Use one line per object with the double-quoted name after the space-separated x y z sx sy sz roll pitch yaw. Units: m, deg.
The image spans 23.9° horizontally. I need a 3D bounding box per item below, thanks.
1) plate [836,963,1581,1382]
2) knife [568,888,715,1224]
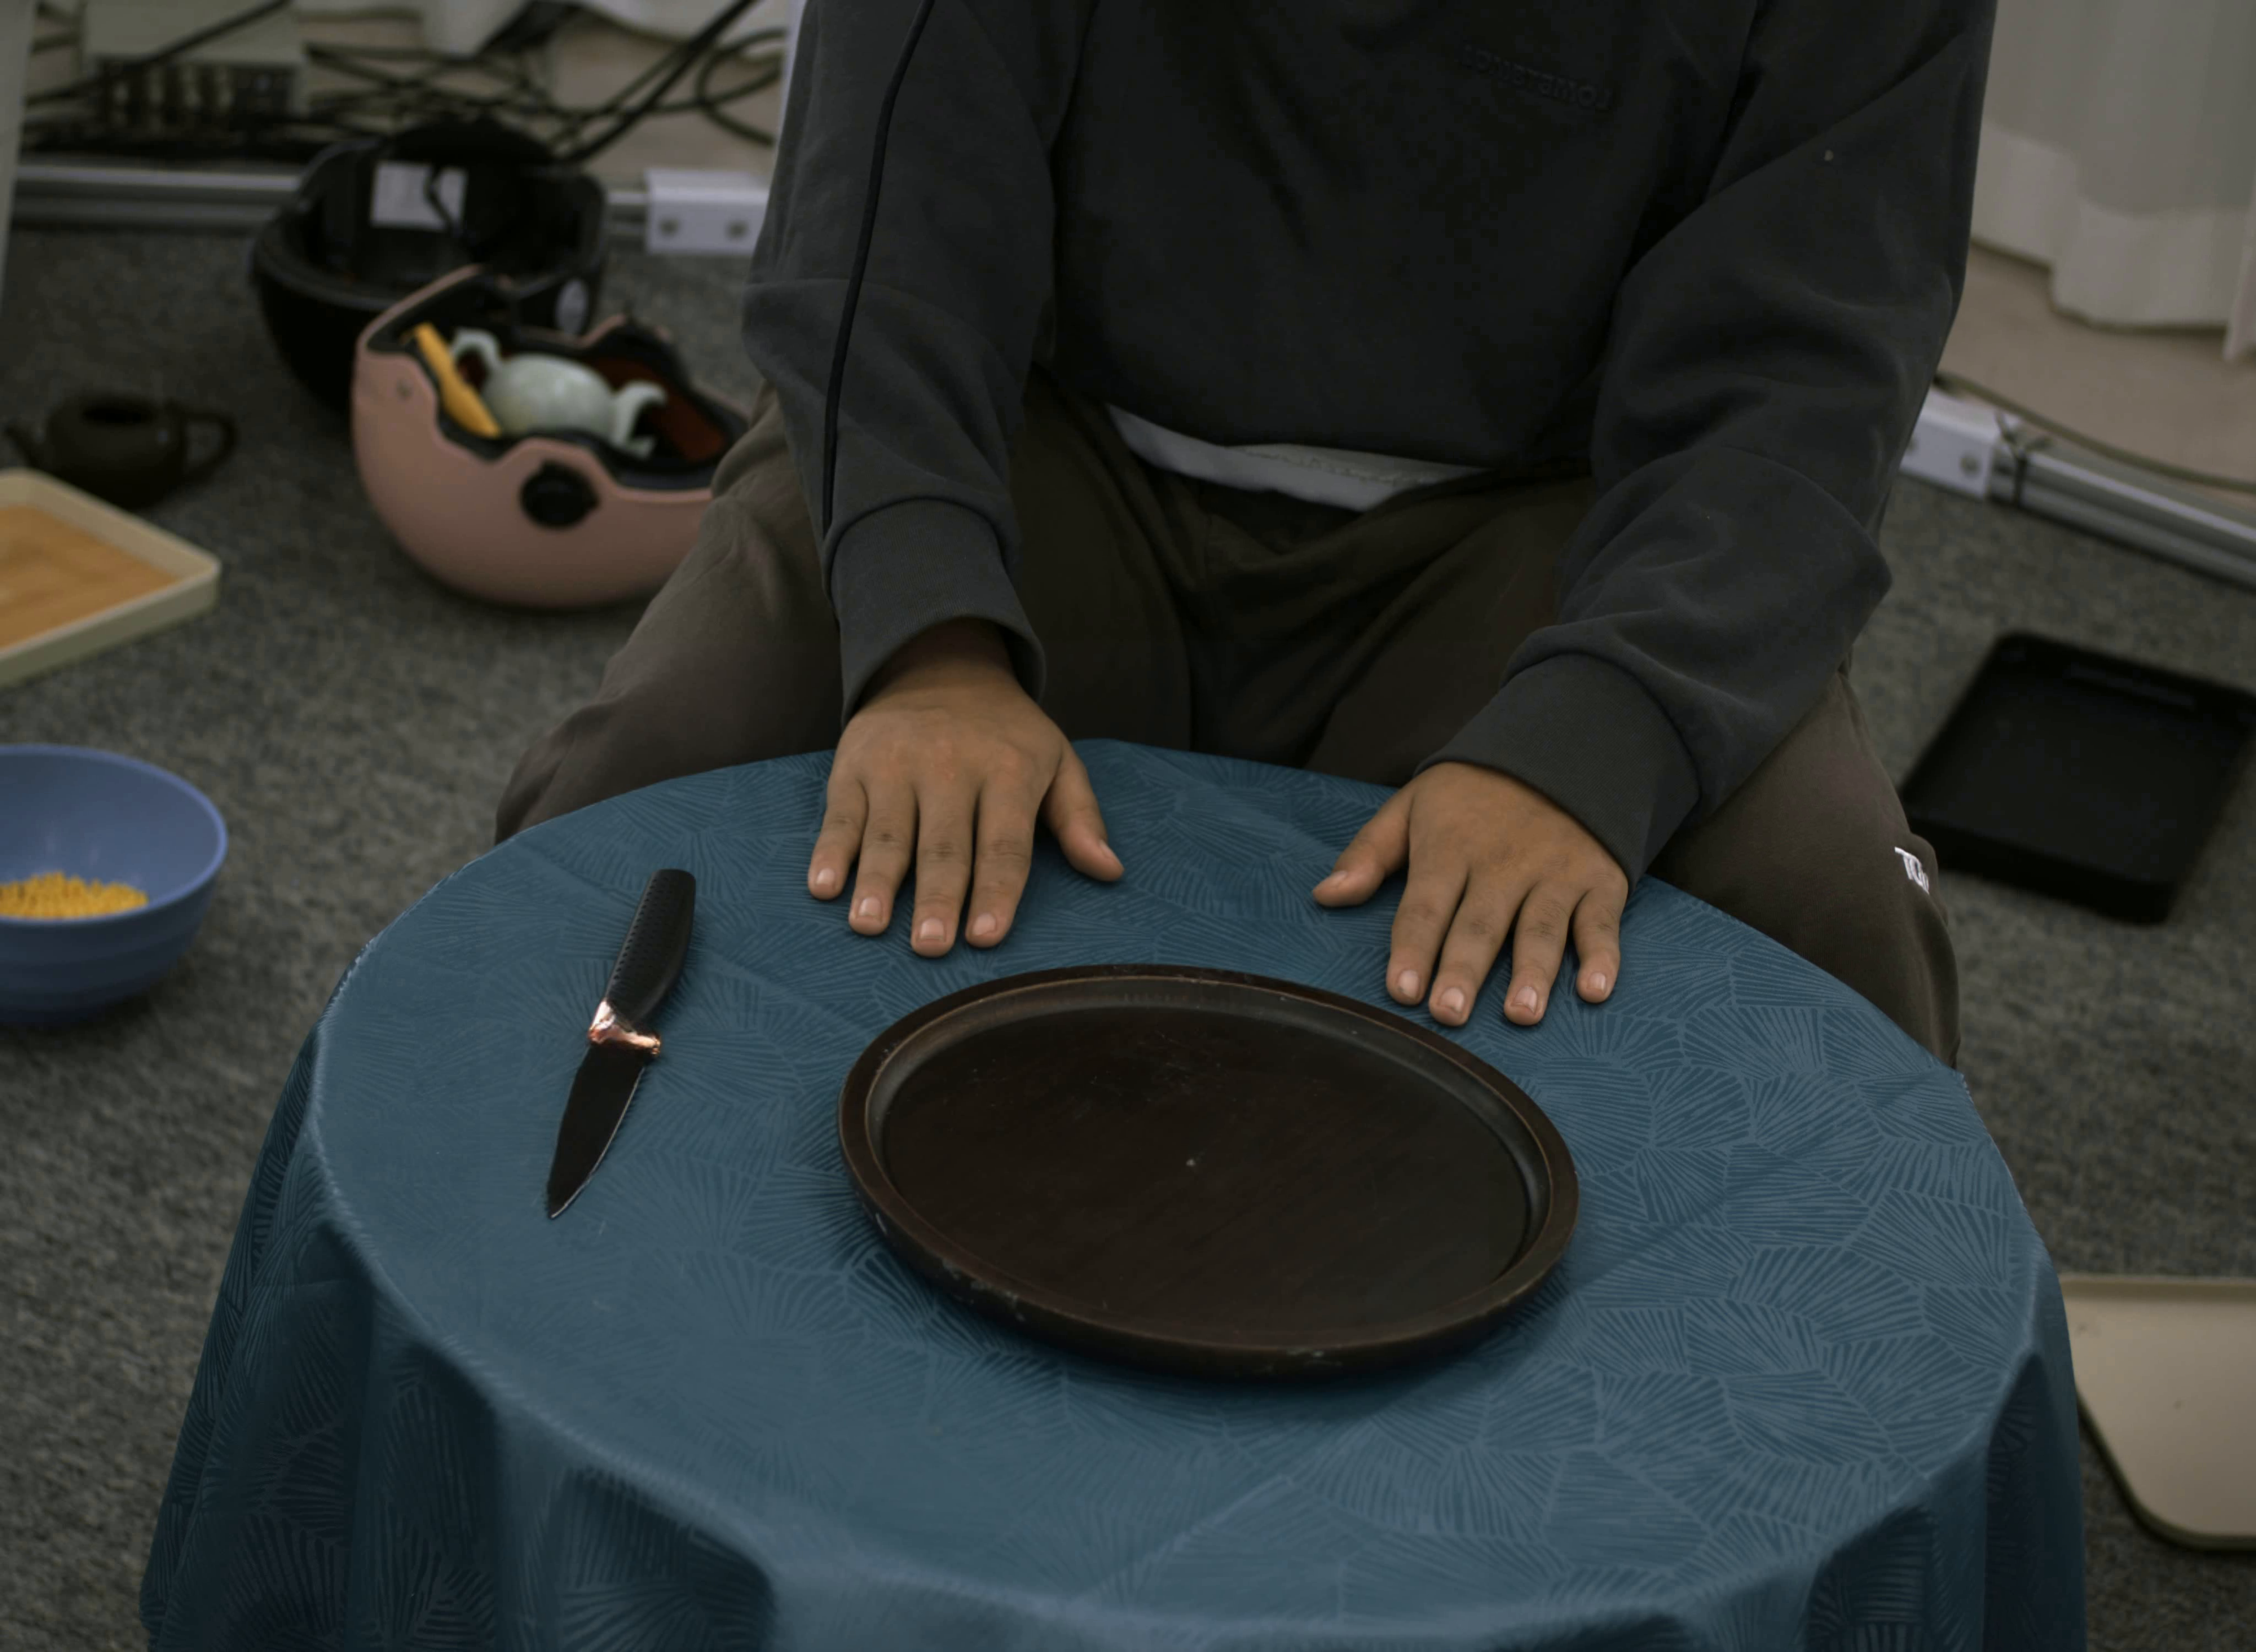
0.027 0.116 1.803 0.254 0.029 0.256 4 26 -2 "plate"
-0.172 0.078 1.845 0.026 0.017 0.226 13 28 1 "knife"
